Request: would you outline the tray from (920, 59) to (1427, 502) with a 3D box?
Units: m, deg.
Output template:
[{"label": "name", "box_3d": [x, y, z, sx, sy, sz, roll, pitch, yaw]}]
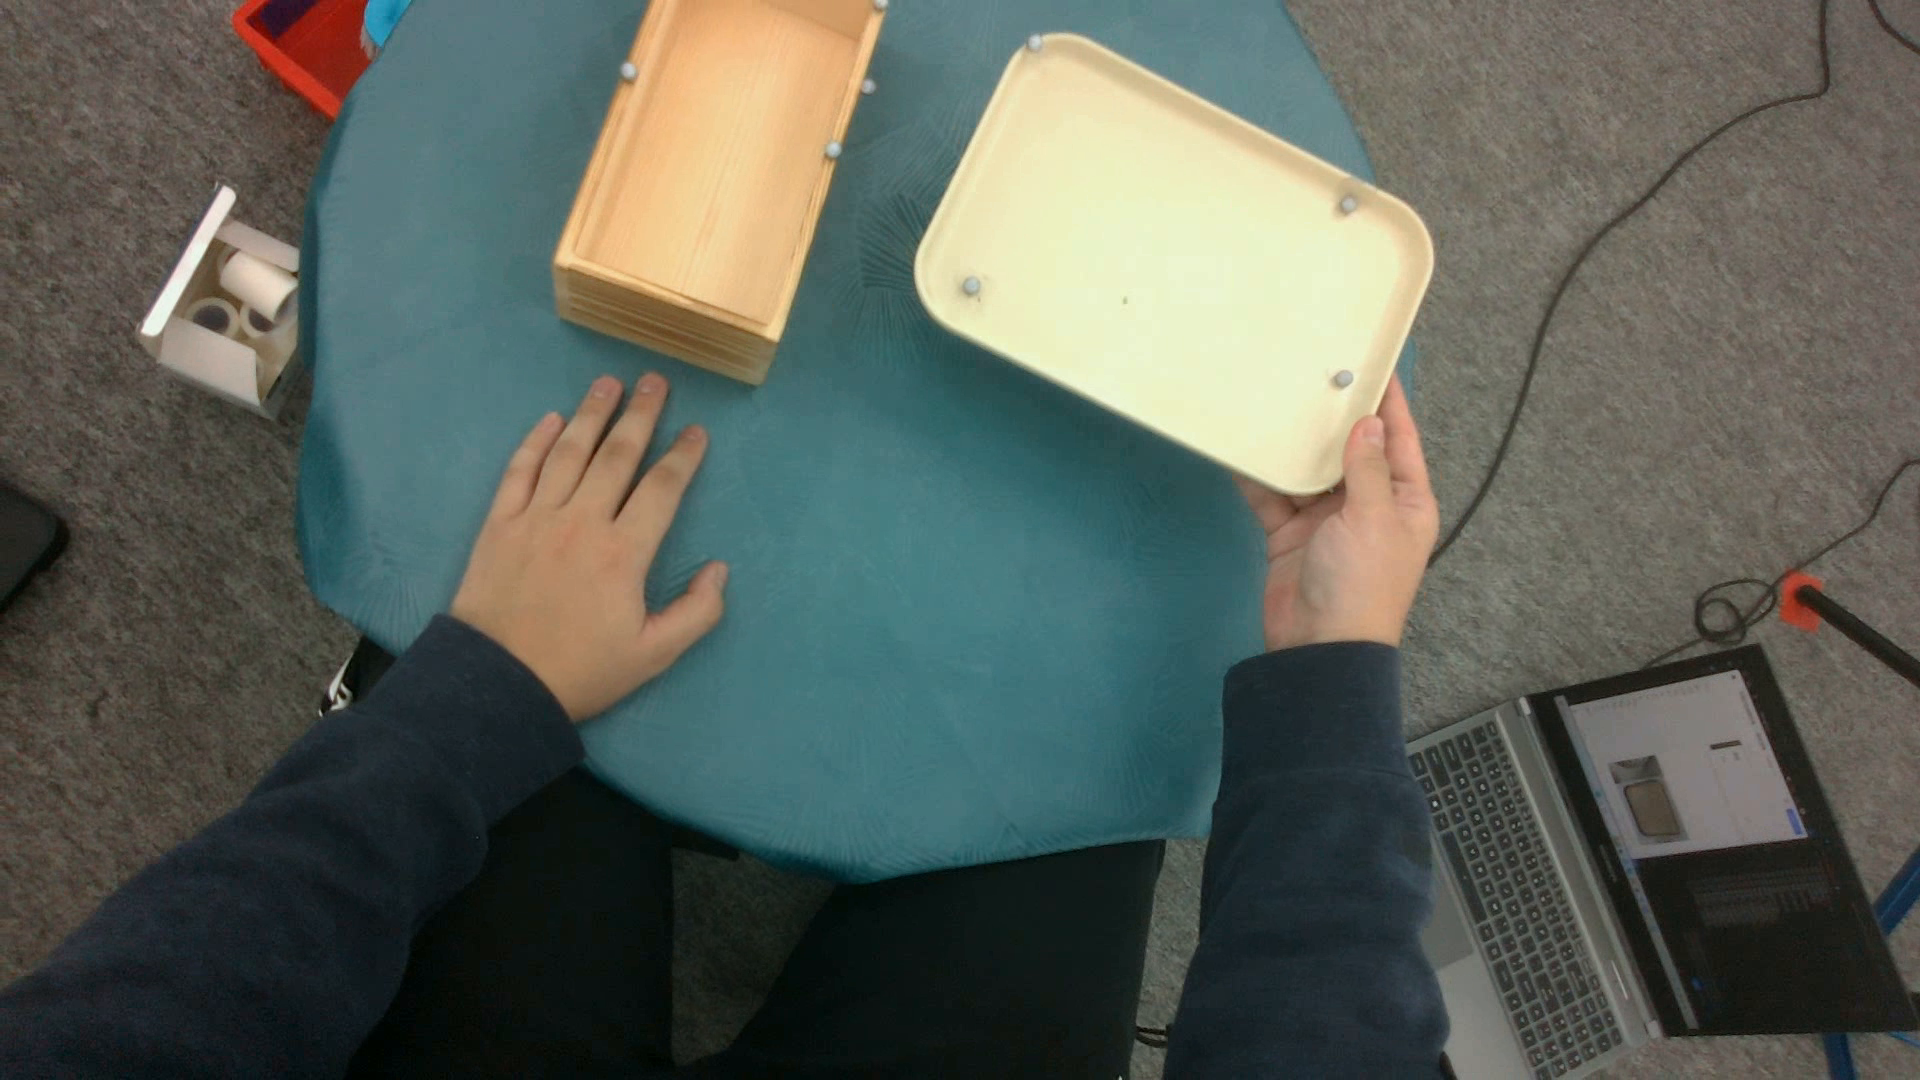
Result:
[{"label": "tray", "box_3d": [0.111, -0.133, 0.703, 0.239, 0.017, 0.171, 26, 76, -3]}]

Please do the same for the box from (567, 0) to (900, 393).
[{"label": "box", "box_3d": [-0.113, -0.196, 0.706, 0.107, 0.080, 0.212, 18, 76, -10]}]
